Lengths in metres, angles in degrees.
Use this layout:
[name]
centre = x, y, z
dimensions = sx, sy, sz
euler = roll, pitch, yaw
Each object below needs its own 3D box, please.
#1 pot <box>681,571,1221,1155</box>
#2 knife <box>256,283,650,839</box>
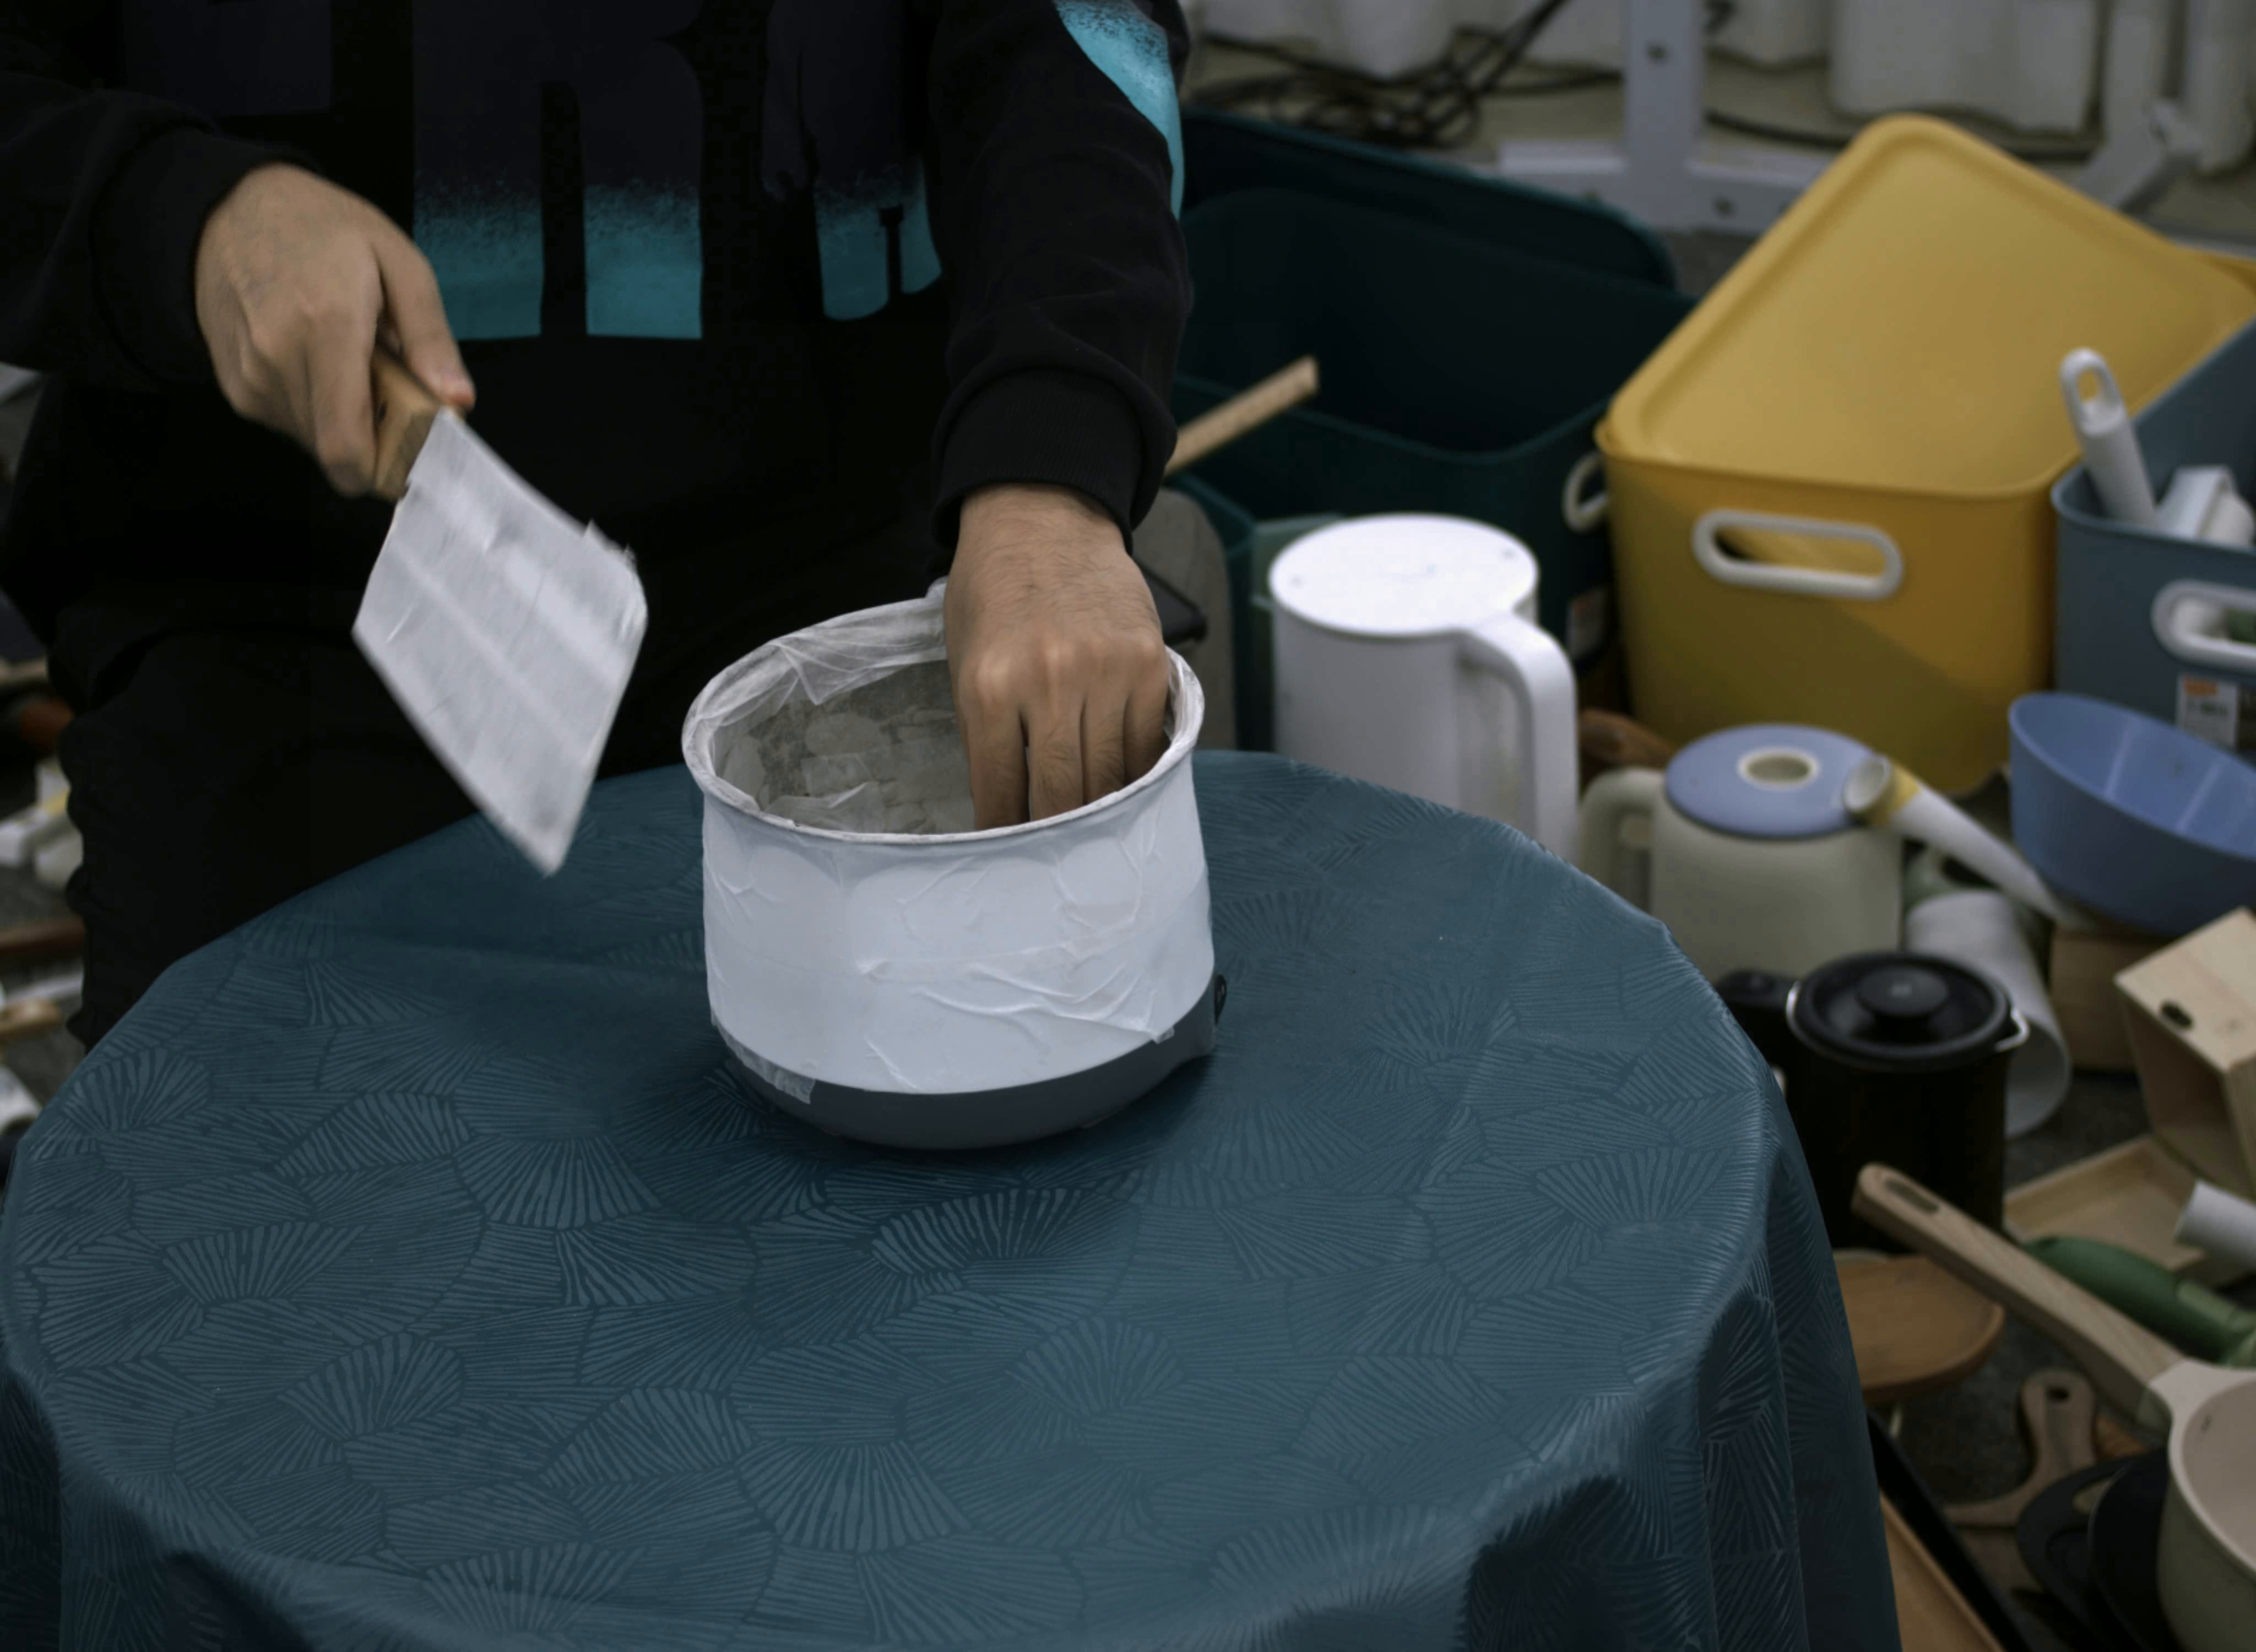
[pot]
centre = -0.059, 0.006, 1.944
dimensions = 0.178, 0.135, 0.237
euler = -2, 28, 0
[knife]
centre = -0.227, -0.103, 1.864
dimensions = 0.022, 0.113, 0.318
euler = 11, 23, -34
